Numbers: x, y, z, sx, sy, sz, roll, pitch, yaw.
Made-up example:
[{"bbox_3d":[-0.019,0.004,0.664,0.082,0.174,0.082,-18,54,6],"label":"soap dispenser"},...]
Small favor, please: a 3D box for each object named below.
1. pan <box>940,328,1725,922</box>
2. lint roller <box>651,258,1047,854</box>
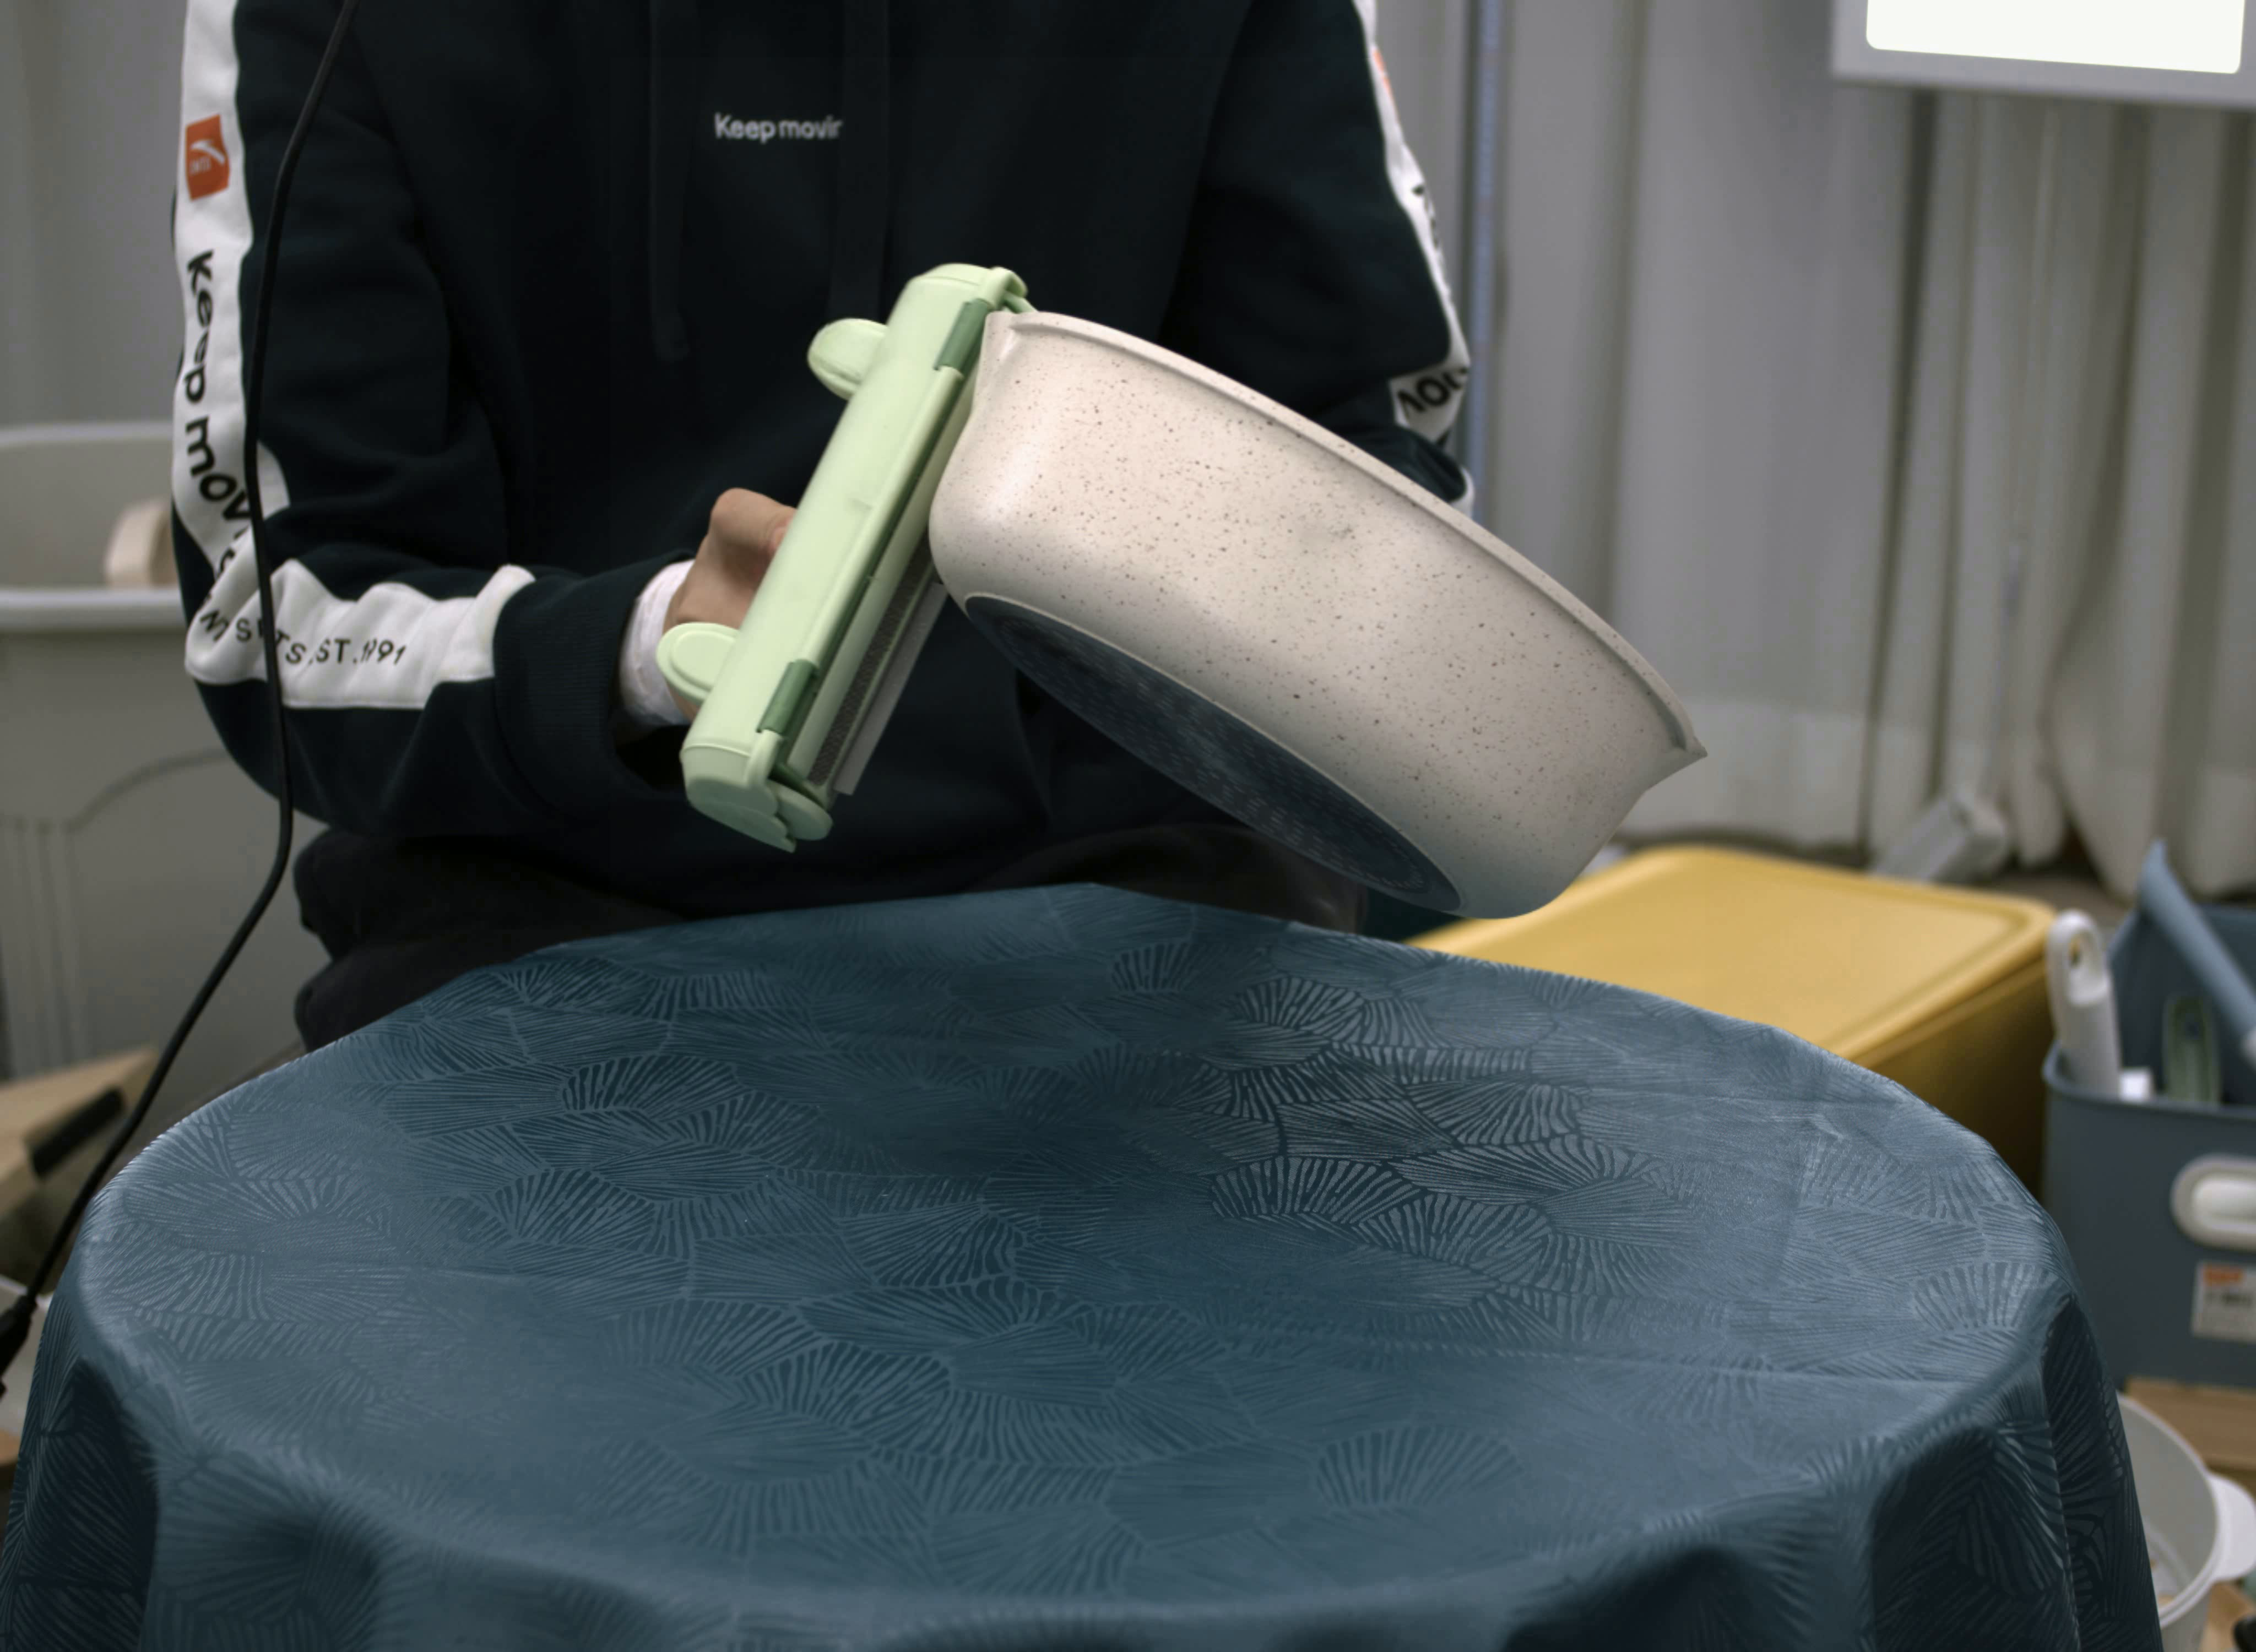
[{"bbox_3d":[0.054,-0.047,1.726,0.262,0.102,0.436,29,-8,3],"label":"pan"},{"bbox_3d":[-0.111,-0.083,1.732,0.082,0.198,0.182,29,-19,-16],"label":"lint roller"}]
